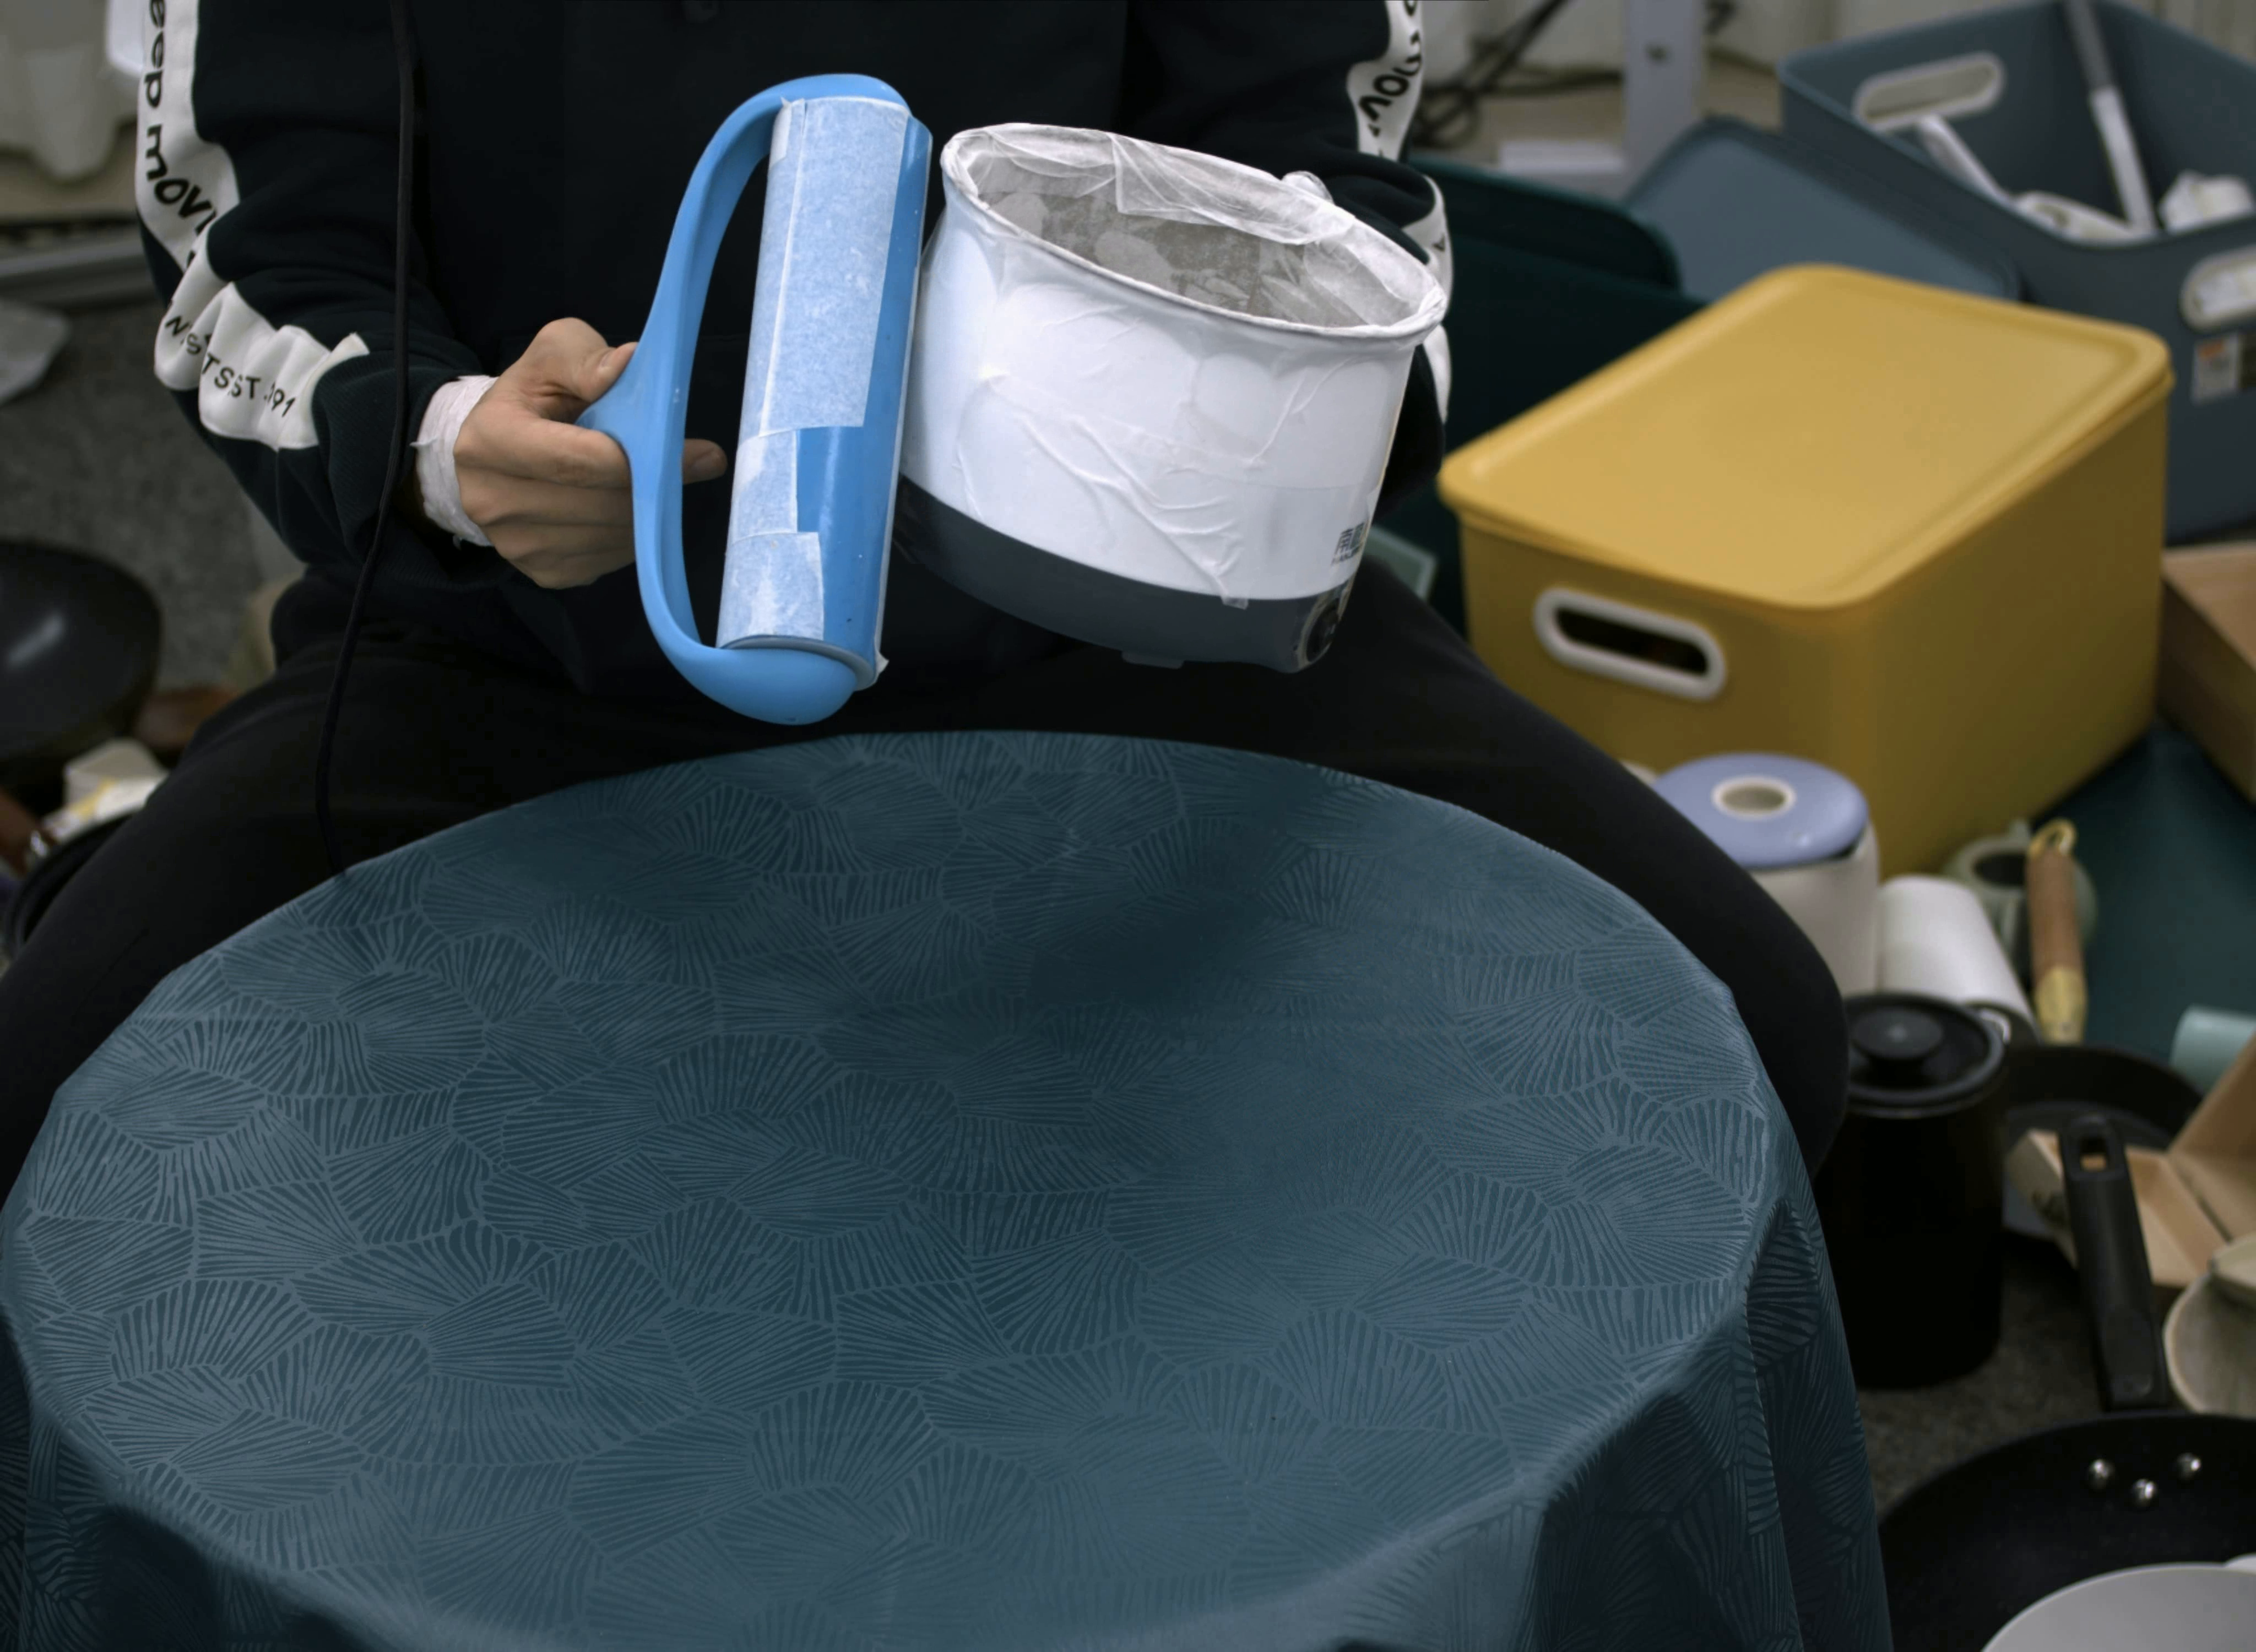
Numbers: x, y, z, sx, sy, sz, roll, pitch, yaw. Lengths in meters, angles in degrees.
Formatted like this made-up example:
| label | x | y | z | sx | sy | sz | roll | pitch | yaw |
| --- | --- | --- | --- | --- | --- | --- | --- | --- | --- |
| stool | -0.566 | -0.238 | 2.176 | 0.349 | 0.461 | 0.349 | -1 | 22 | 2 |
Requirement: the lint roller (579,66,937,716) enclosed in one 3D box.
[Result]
| label | x | y | z | sx | sy | sz | roll | pitch | yaw |
| --- | --- | --- | --- | --- | --- | --- | --- | --- | --- |
| lint roller | -0.140 | -0.132 | 1.893 | 0.178 | 0.232 | 0.068 | -18 | -28 | 39 |

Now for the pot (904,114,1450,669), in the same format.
| label | x | y | z | sx | sy | sz | roll | pitch | yaw |
| --- | --- | --- | --- | --- | --- | --- | --- | --- | --- |
| pot | 0.017 | -0.154 | 1.933 | 0.178 | 0.135 | 0.236 | 24 | 23 | 15 |
